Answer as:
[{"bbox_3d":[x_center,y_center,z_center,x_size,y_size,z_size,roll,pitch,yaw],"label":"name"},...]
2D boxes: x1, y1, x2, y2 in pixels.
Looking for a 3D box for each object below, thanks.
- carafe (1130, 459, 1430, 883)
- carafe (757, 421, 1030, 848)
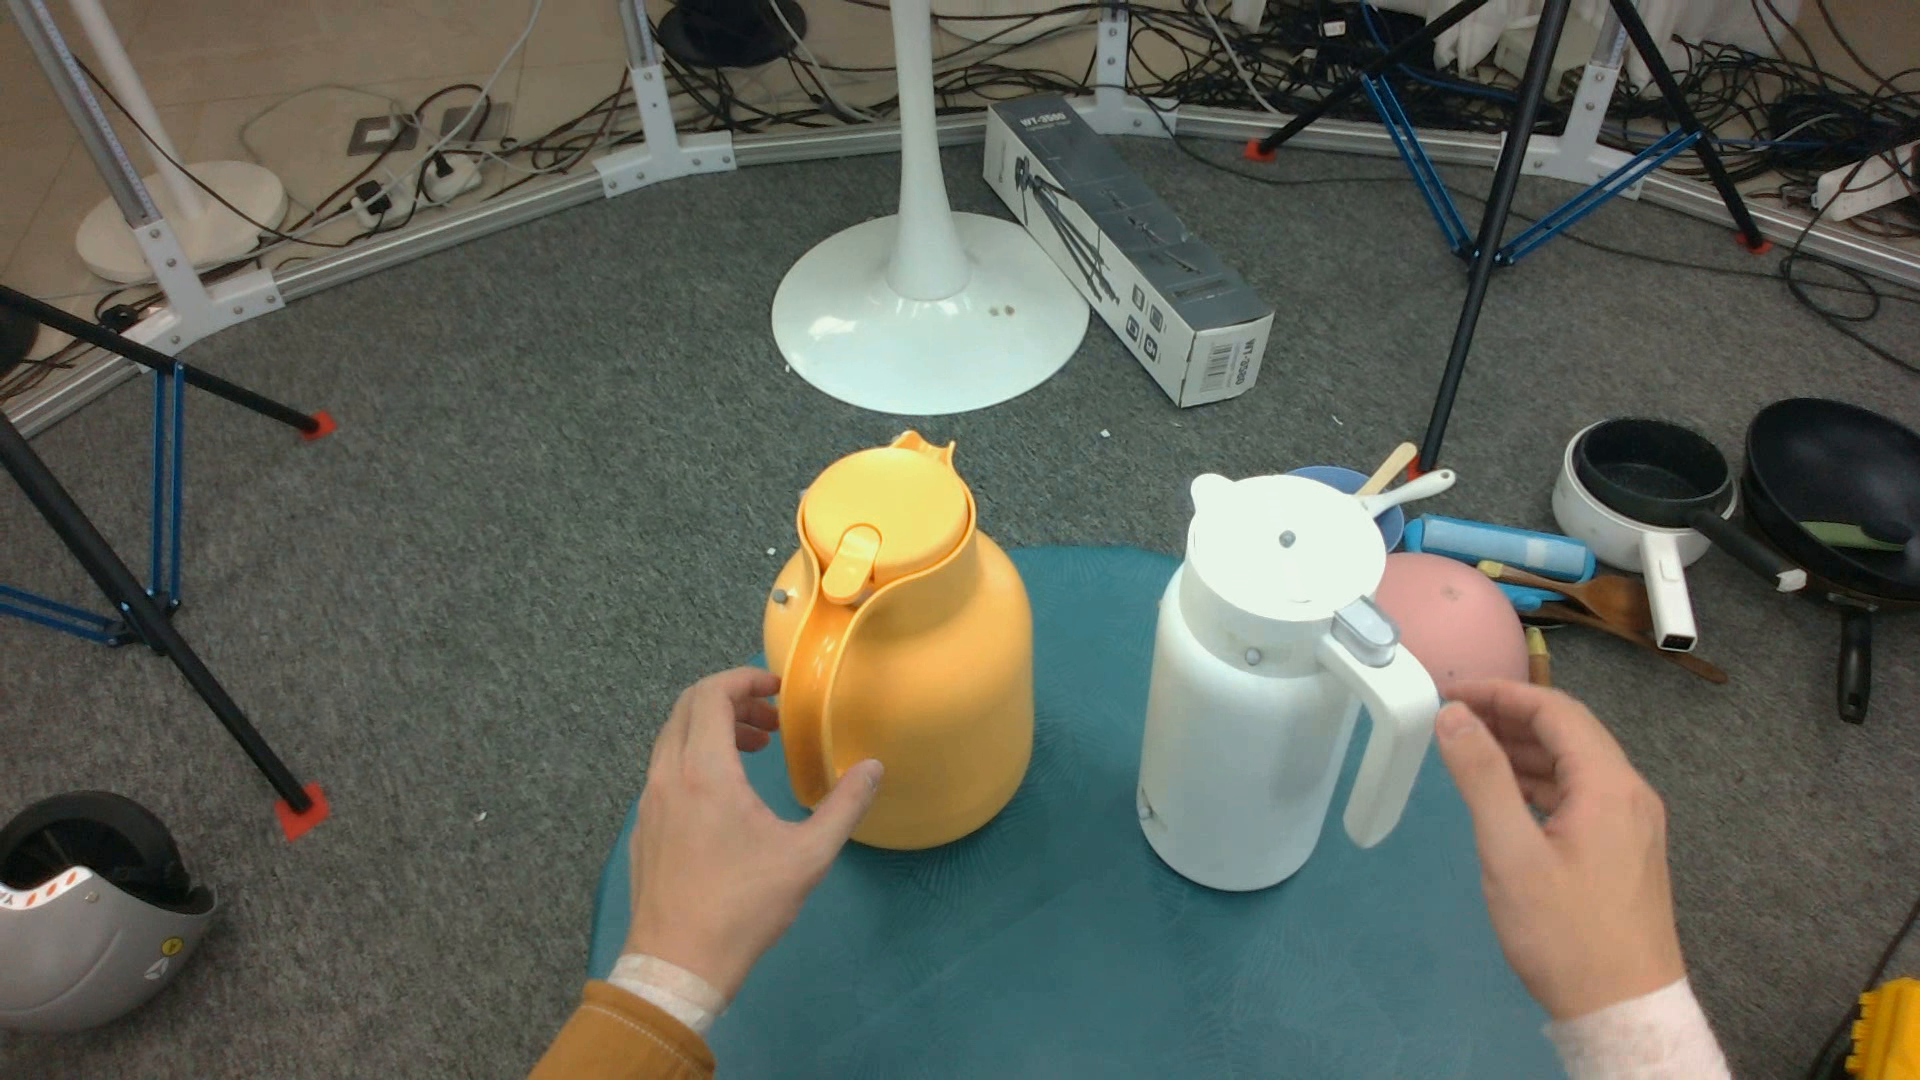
[{"bbox_3d":[0.175,0.095,0.784,0.124,0.267,0.173,-25,53,-22],"label":"carafe"},{"bbox_3d":[-0.049,0.071,0.812,0.163,0.259,0.203,15,49,18],"label":"carafe"}]
